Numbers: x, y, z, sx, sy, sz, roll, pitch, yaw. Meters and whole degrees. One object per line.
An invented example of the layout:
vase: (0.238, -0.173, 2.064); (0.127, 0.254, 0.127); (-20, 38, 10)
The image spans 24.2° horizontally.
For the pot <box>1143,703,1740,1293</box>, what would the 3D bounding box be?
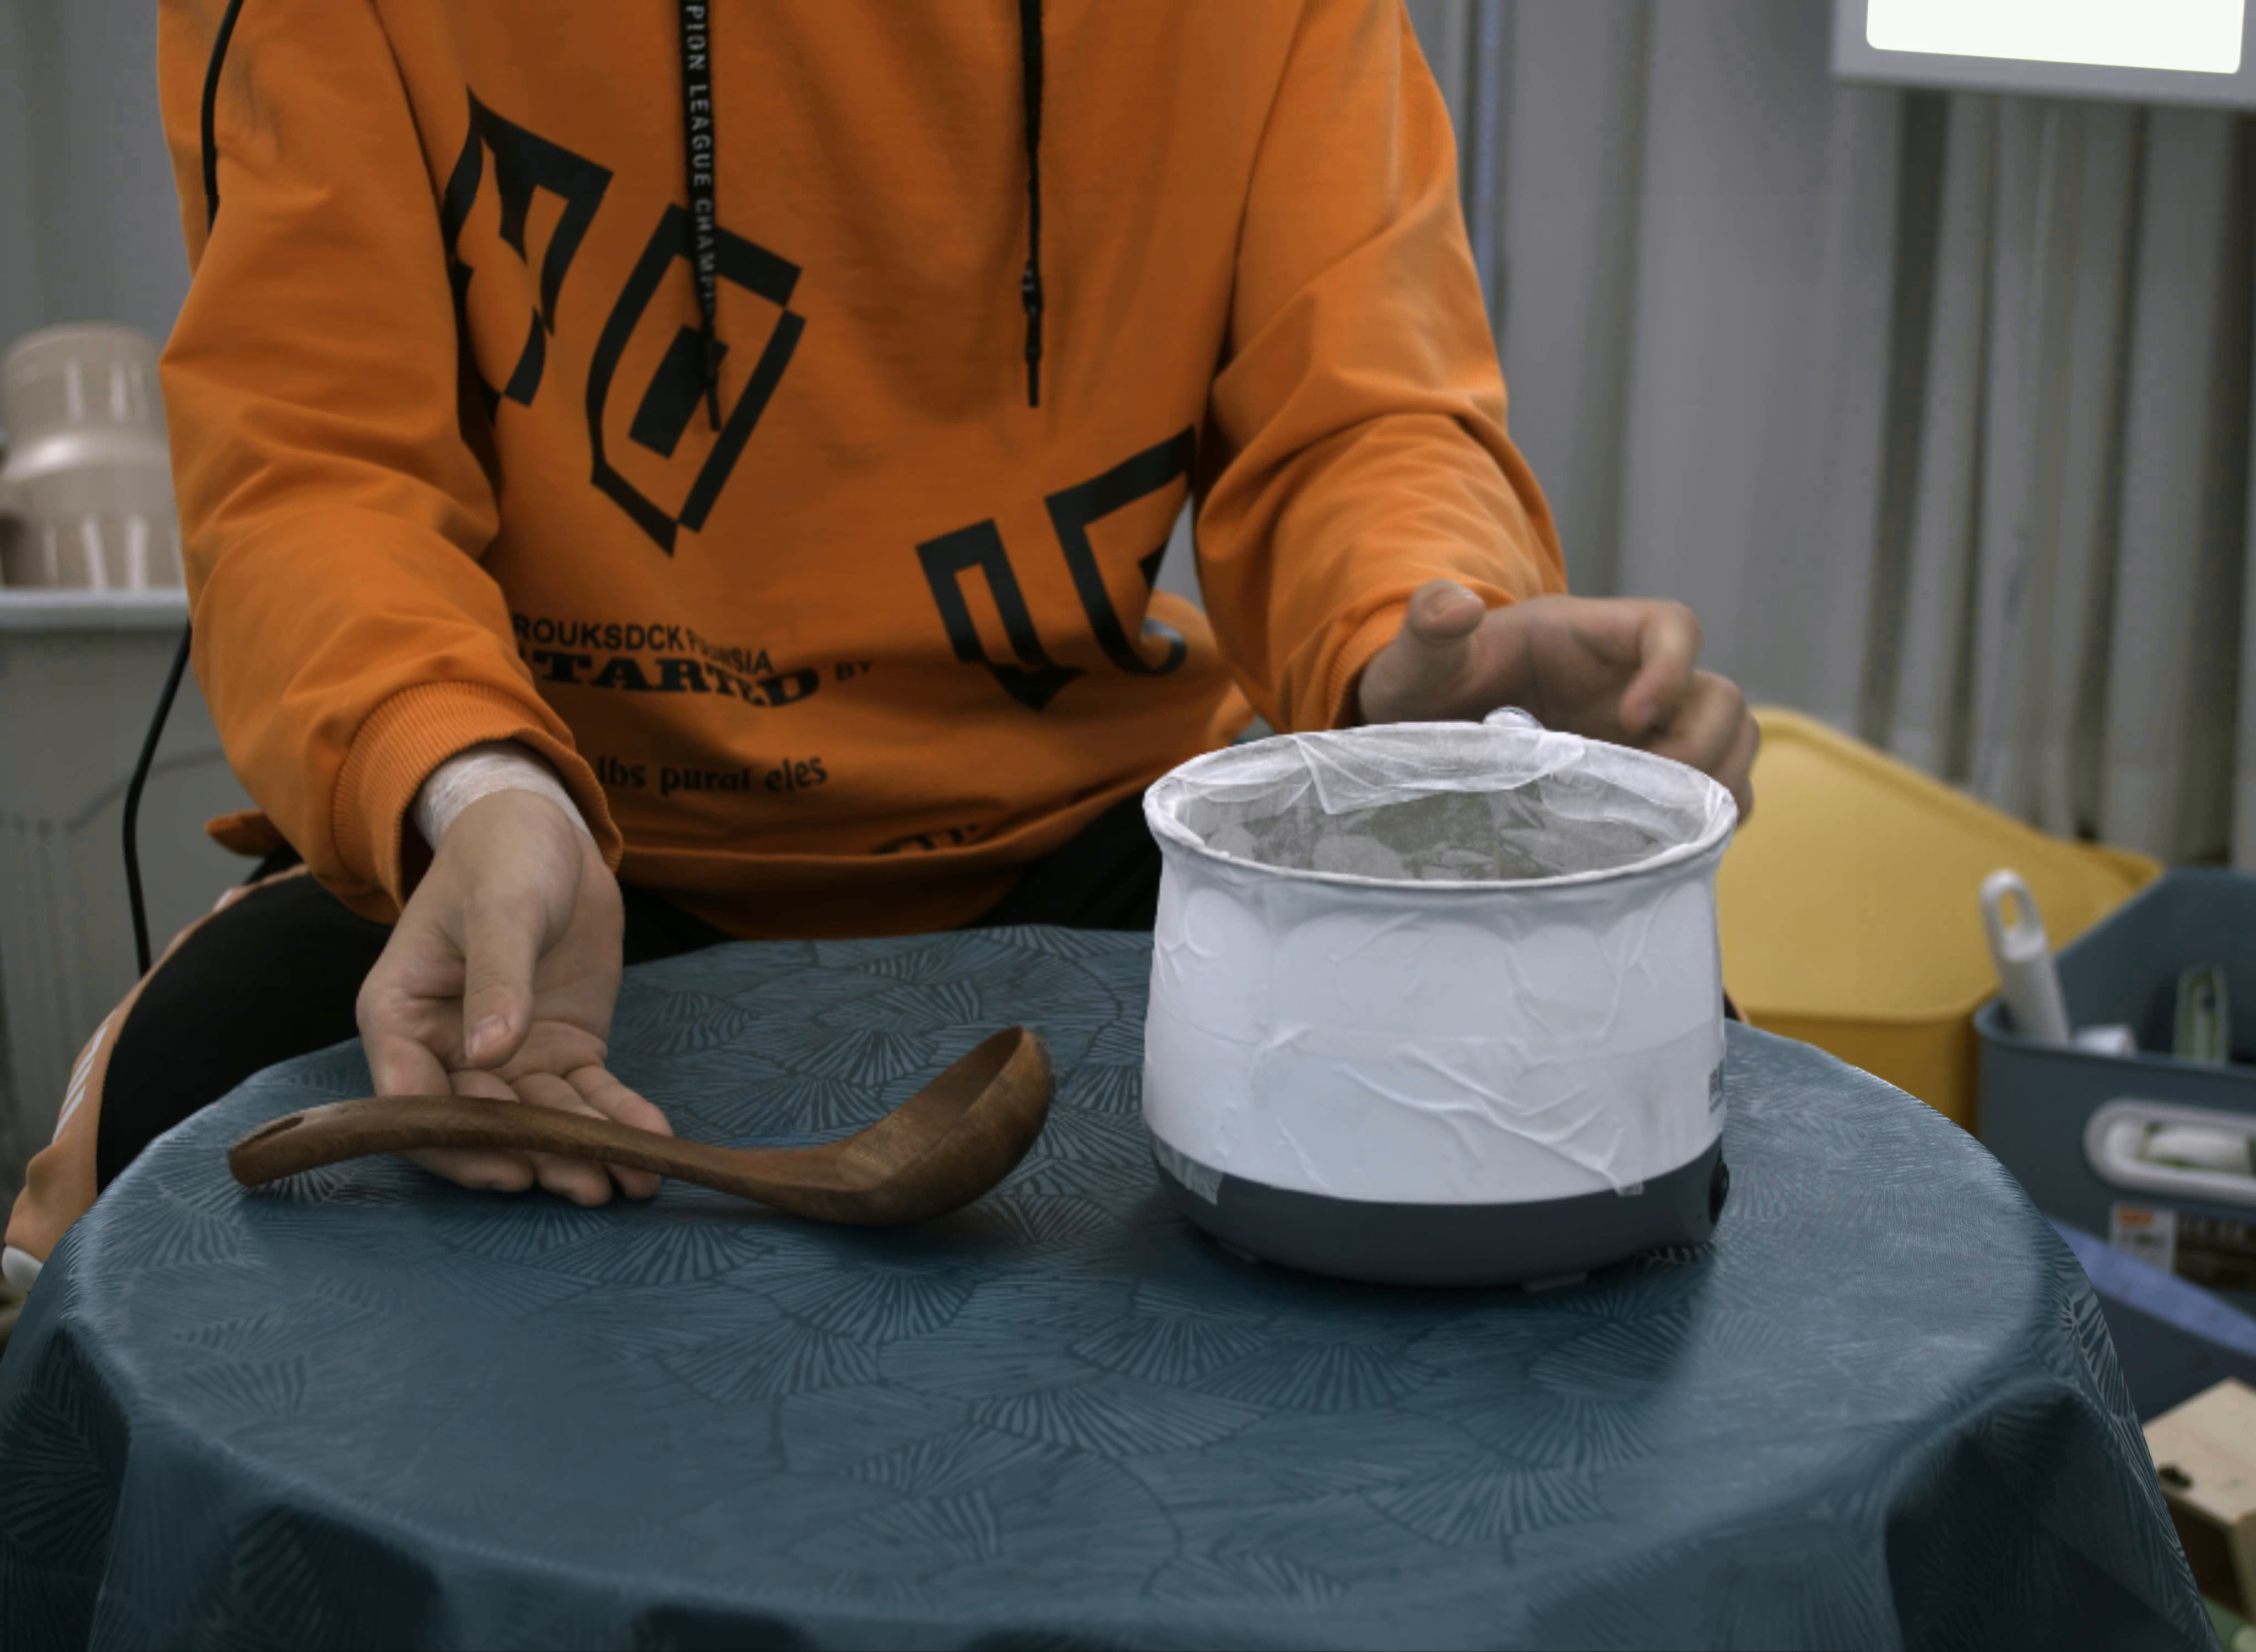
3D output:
pot: (0.099, 0.046, 1.607); (0.177, 0.138, 0.233); (5, 17, 13)

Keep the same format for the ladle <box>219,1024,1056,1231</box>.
ladle: (-0.150, 0.086, 1.593); (0.258, 0.065, 0.076); (3, 15, 8)
